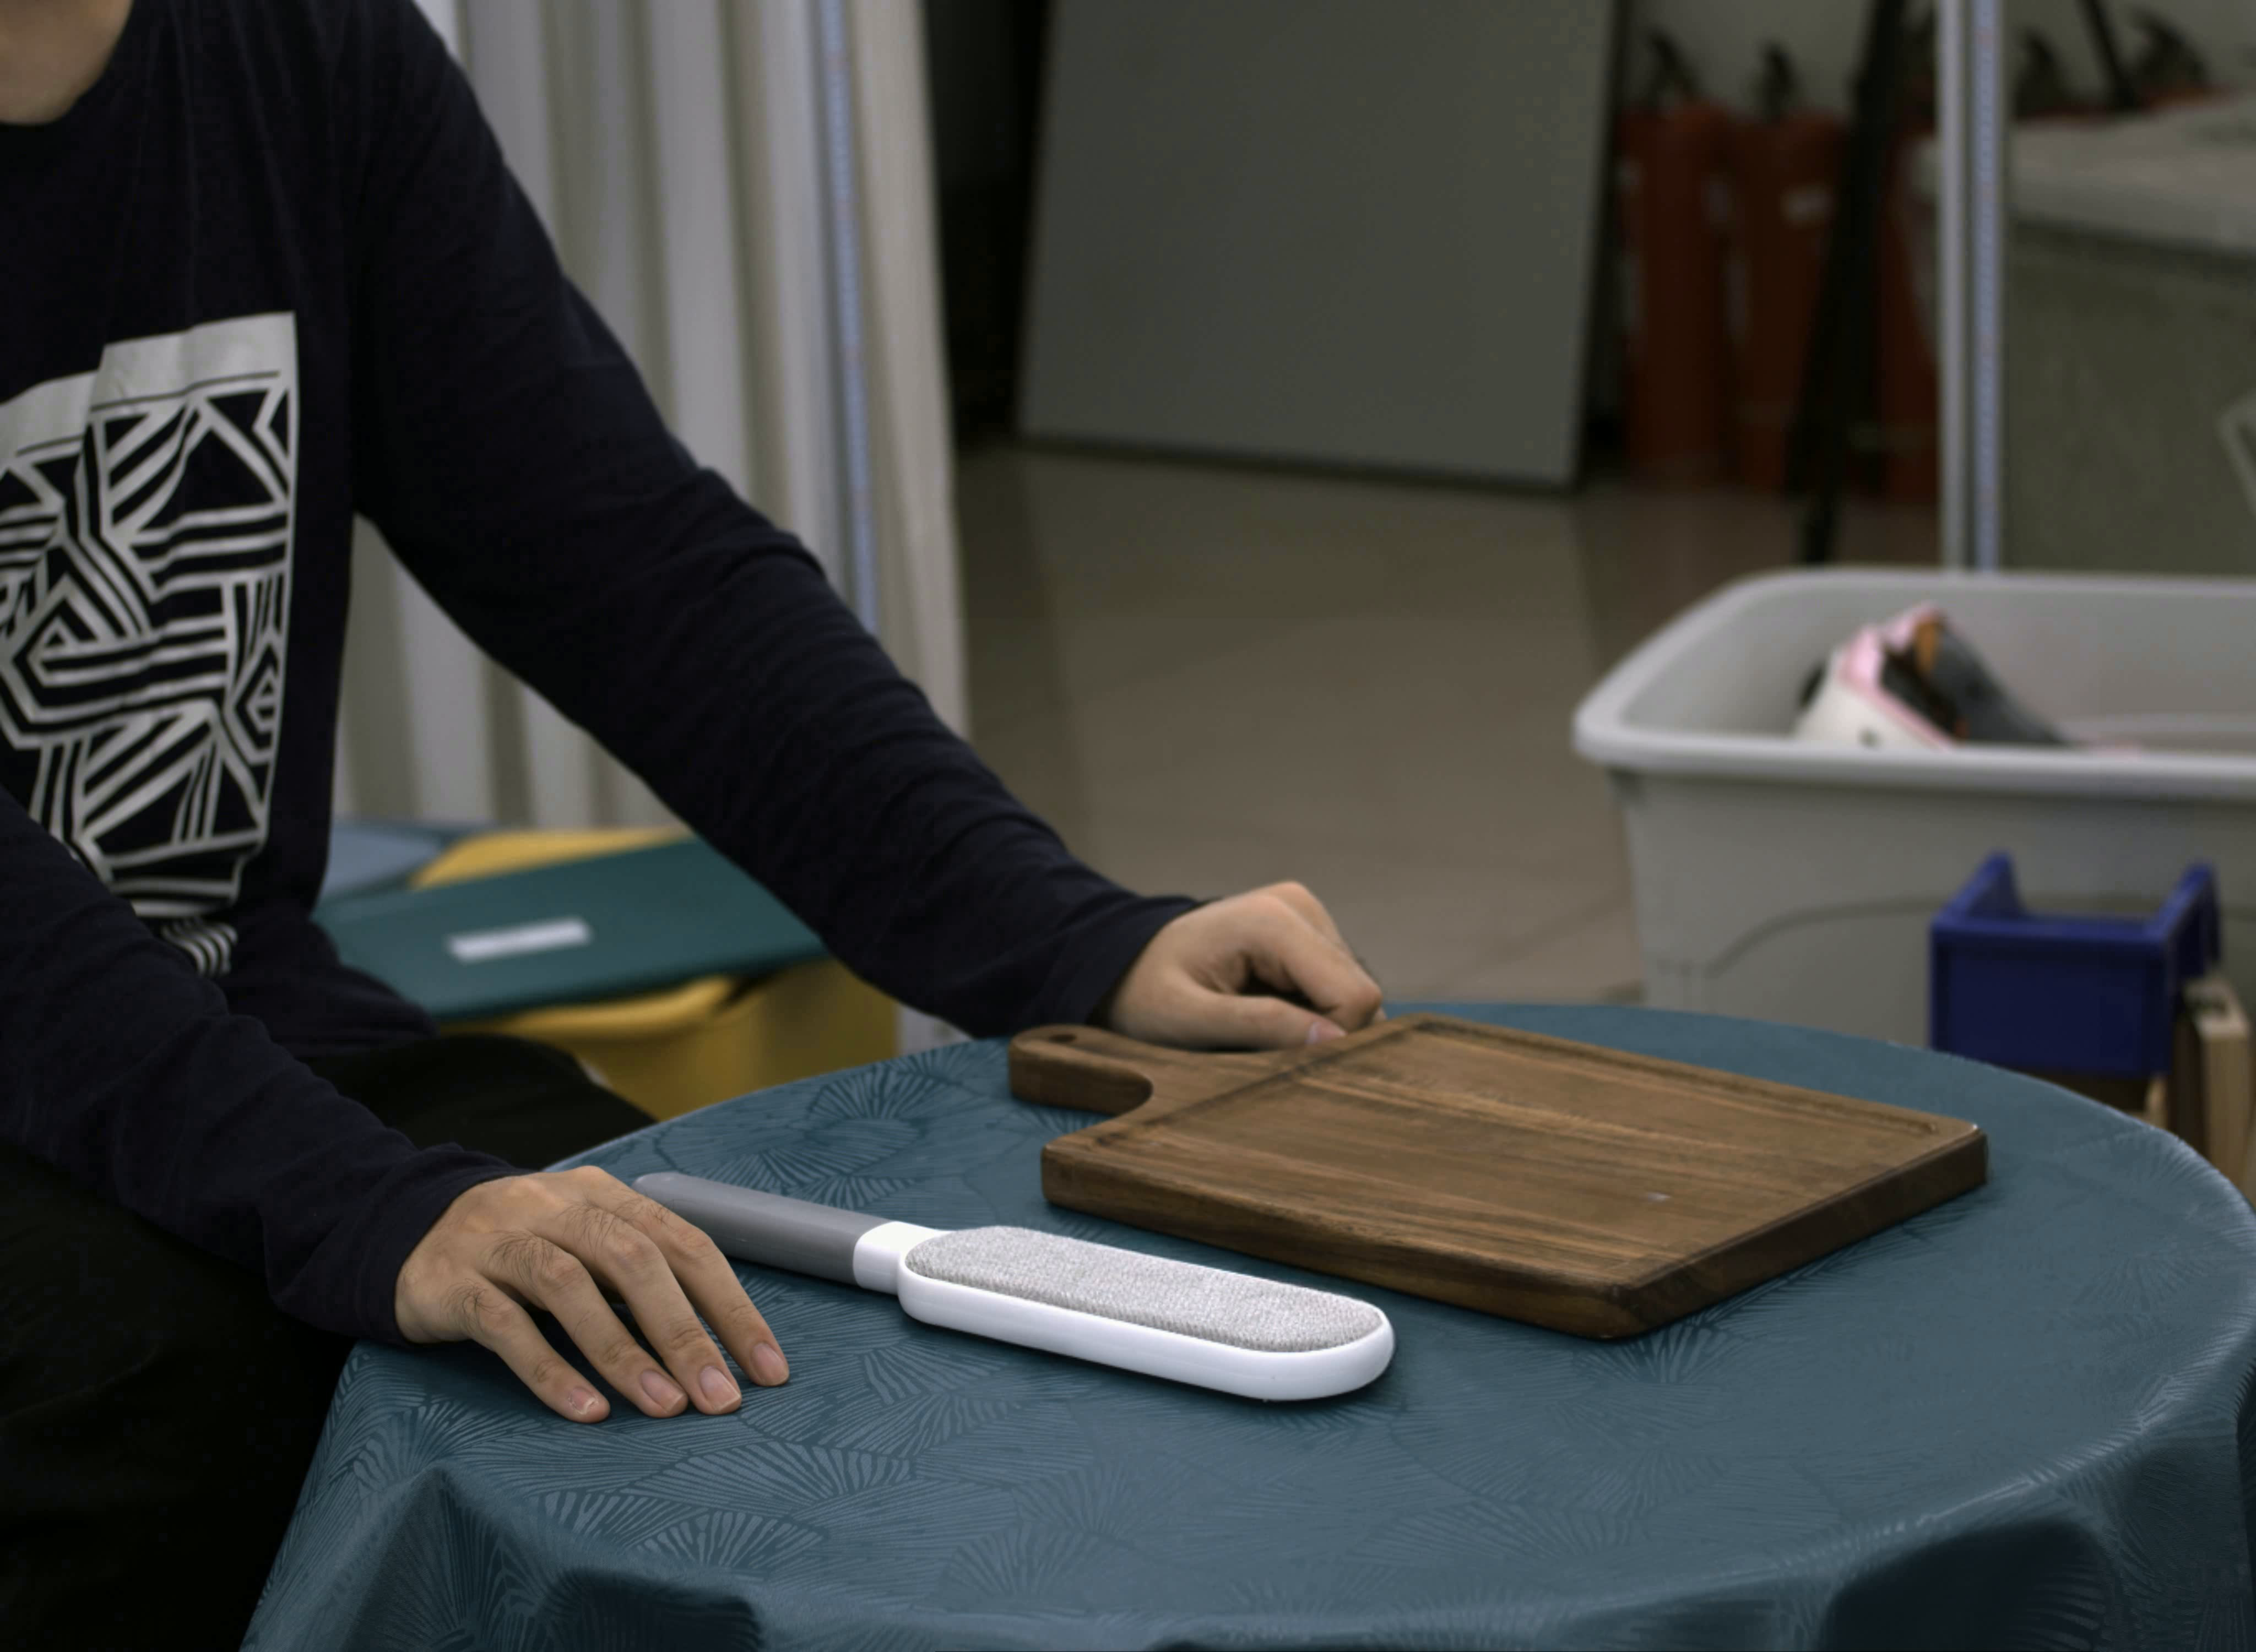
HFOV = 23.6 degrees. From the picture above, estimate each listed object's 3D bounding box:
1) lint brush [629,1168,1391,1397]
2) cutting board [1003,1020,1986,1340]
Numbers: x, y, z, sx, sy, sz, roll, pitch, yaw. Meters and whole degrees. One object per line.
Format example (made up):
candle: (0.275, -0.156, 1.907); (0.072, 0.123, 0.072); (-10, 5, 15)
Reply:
lint brush: (-0.043, 0.137, 1.666); (0.311, 0.021, 0.059); (8, 23, 42)
cutting board: (0.088, 0.105, 1.777); (0.197, 0.023, 0.355); (-17, 18, -42)
